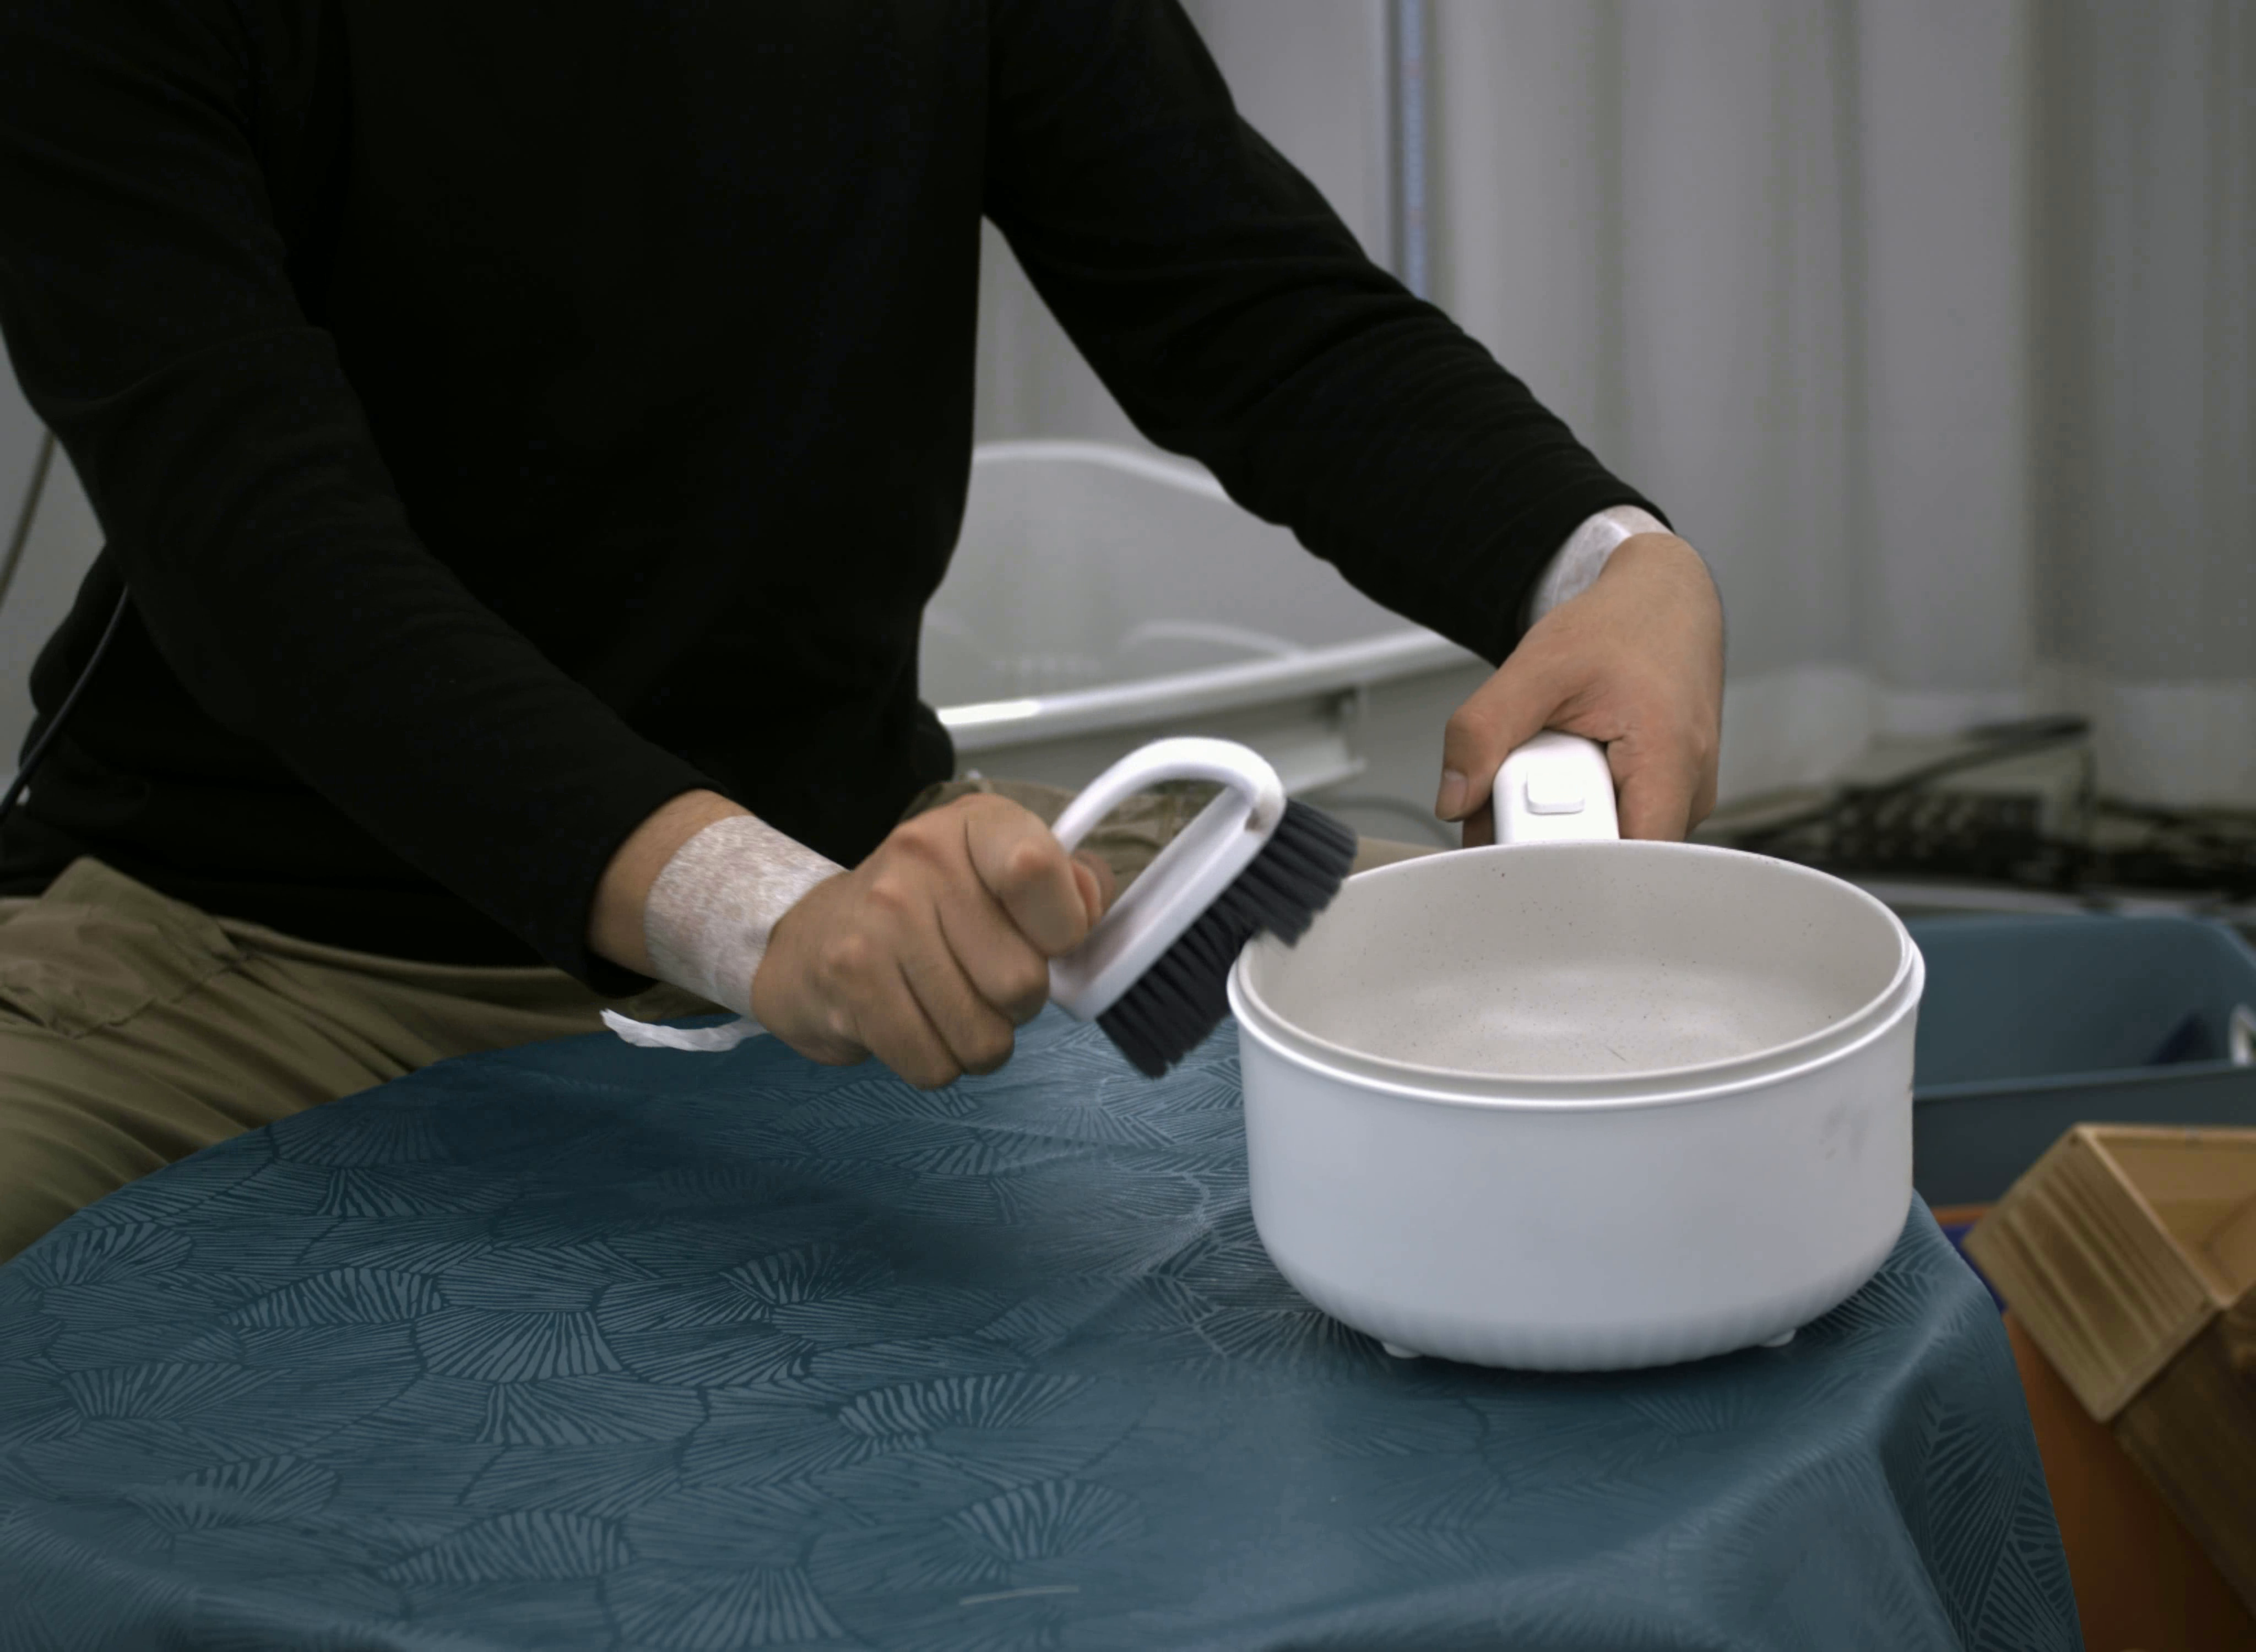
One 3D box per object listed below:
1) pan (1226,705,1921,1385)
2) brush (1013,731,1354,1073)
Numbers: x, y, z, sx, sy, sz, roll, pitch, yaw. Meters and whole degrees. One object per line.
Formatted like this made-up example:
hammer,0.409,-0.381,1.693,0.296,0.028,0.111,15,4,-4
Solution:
pan,0.135,0.062,1.667,0.200,0.101,0.357,-4,18,4
brush,0.009,0.016,1.622,0.072,0.099,0.051,39,16,-13
